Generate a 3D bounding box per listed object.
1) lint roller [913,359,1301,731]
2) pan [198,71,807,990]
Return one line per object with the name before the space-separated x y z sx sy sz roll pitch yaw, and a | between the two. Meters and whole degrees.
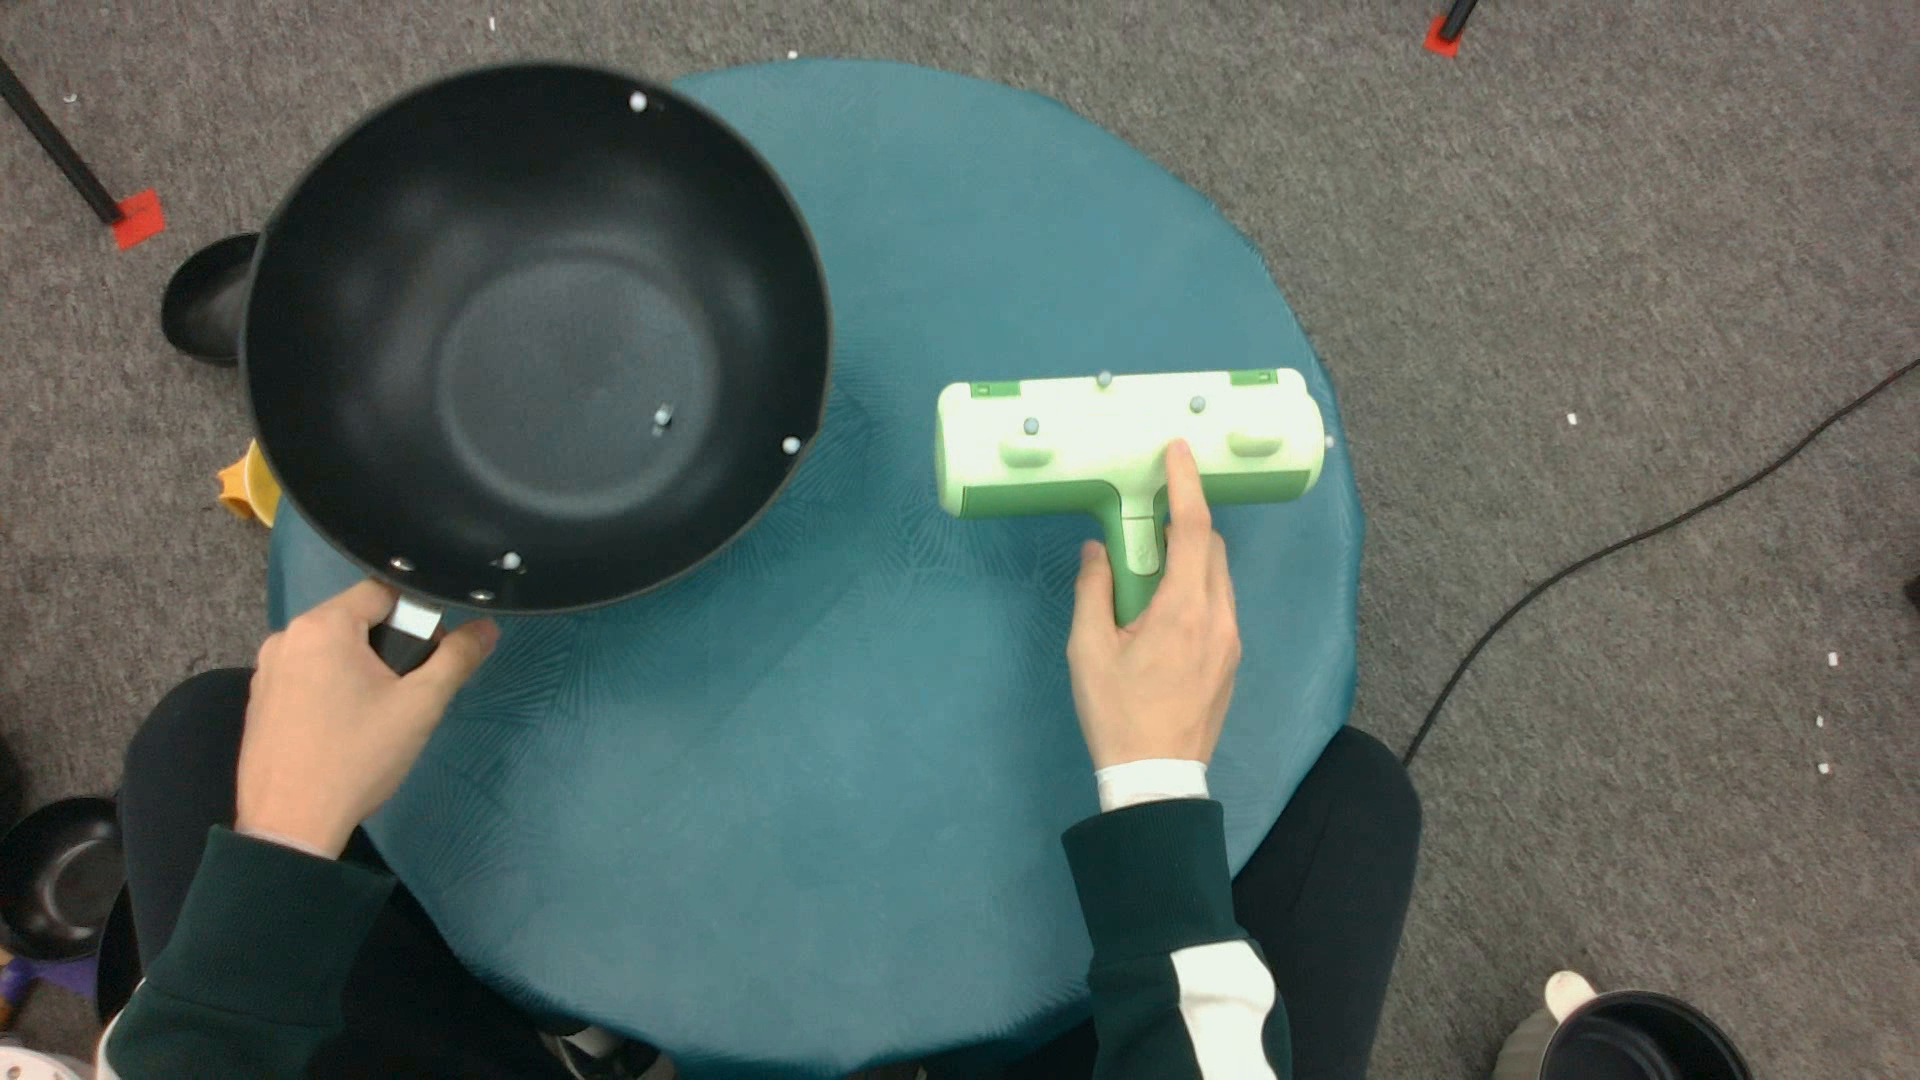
lint roller | 0.083 -0.001 0.686 0.199 0.082 0.184 -4 72 -8
pan | -0.248 -0.009 0.691 0.288 0.086 0.464 19 78 -1
